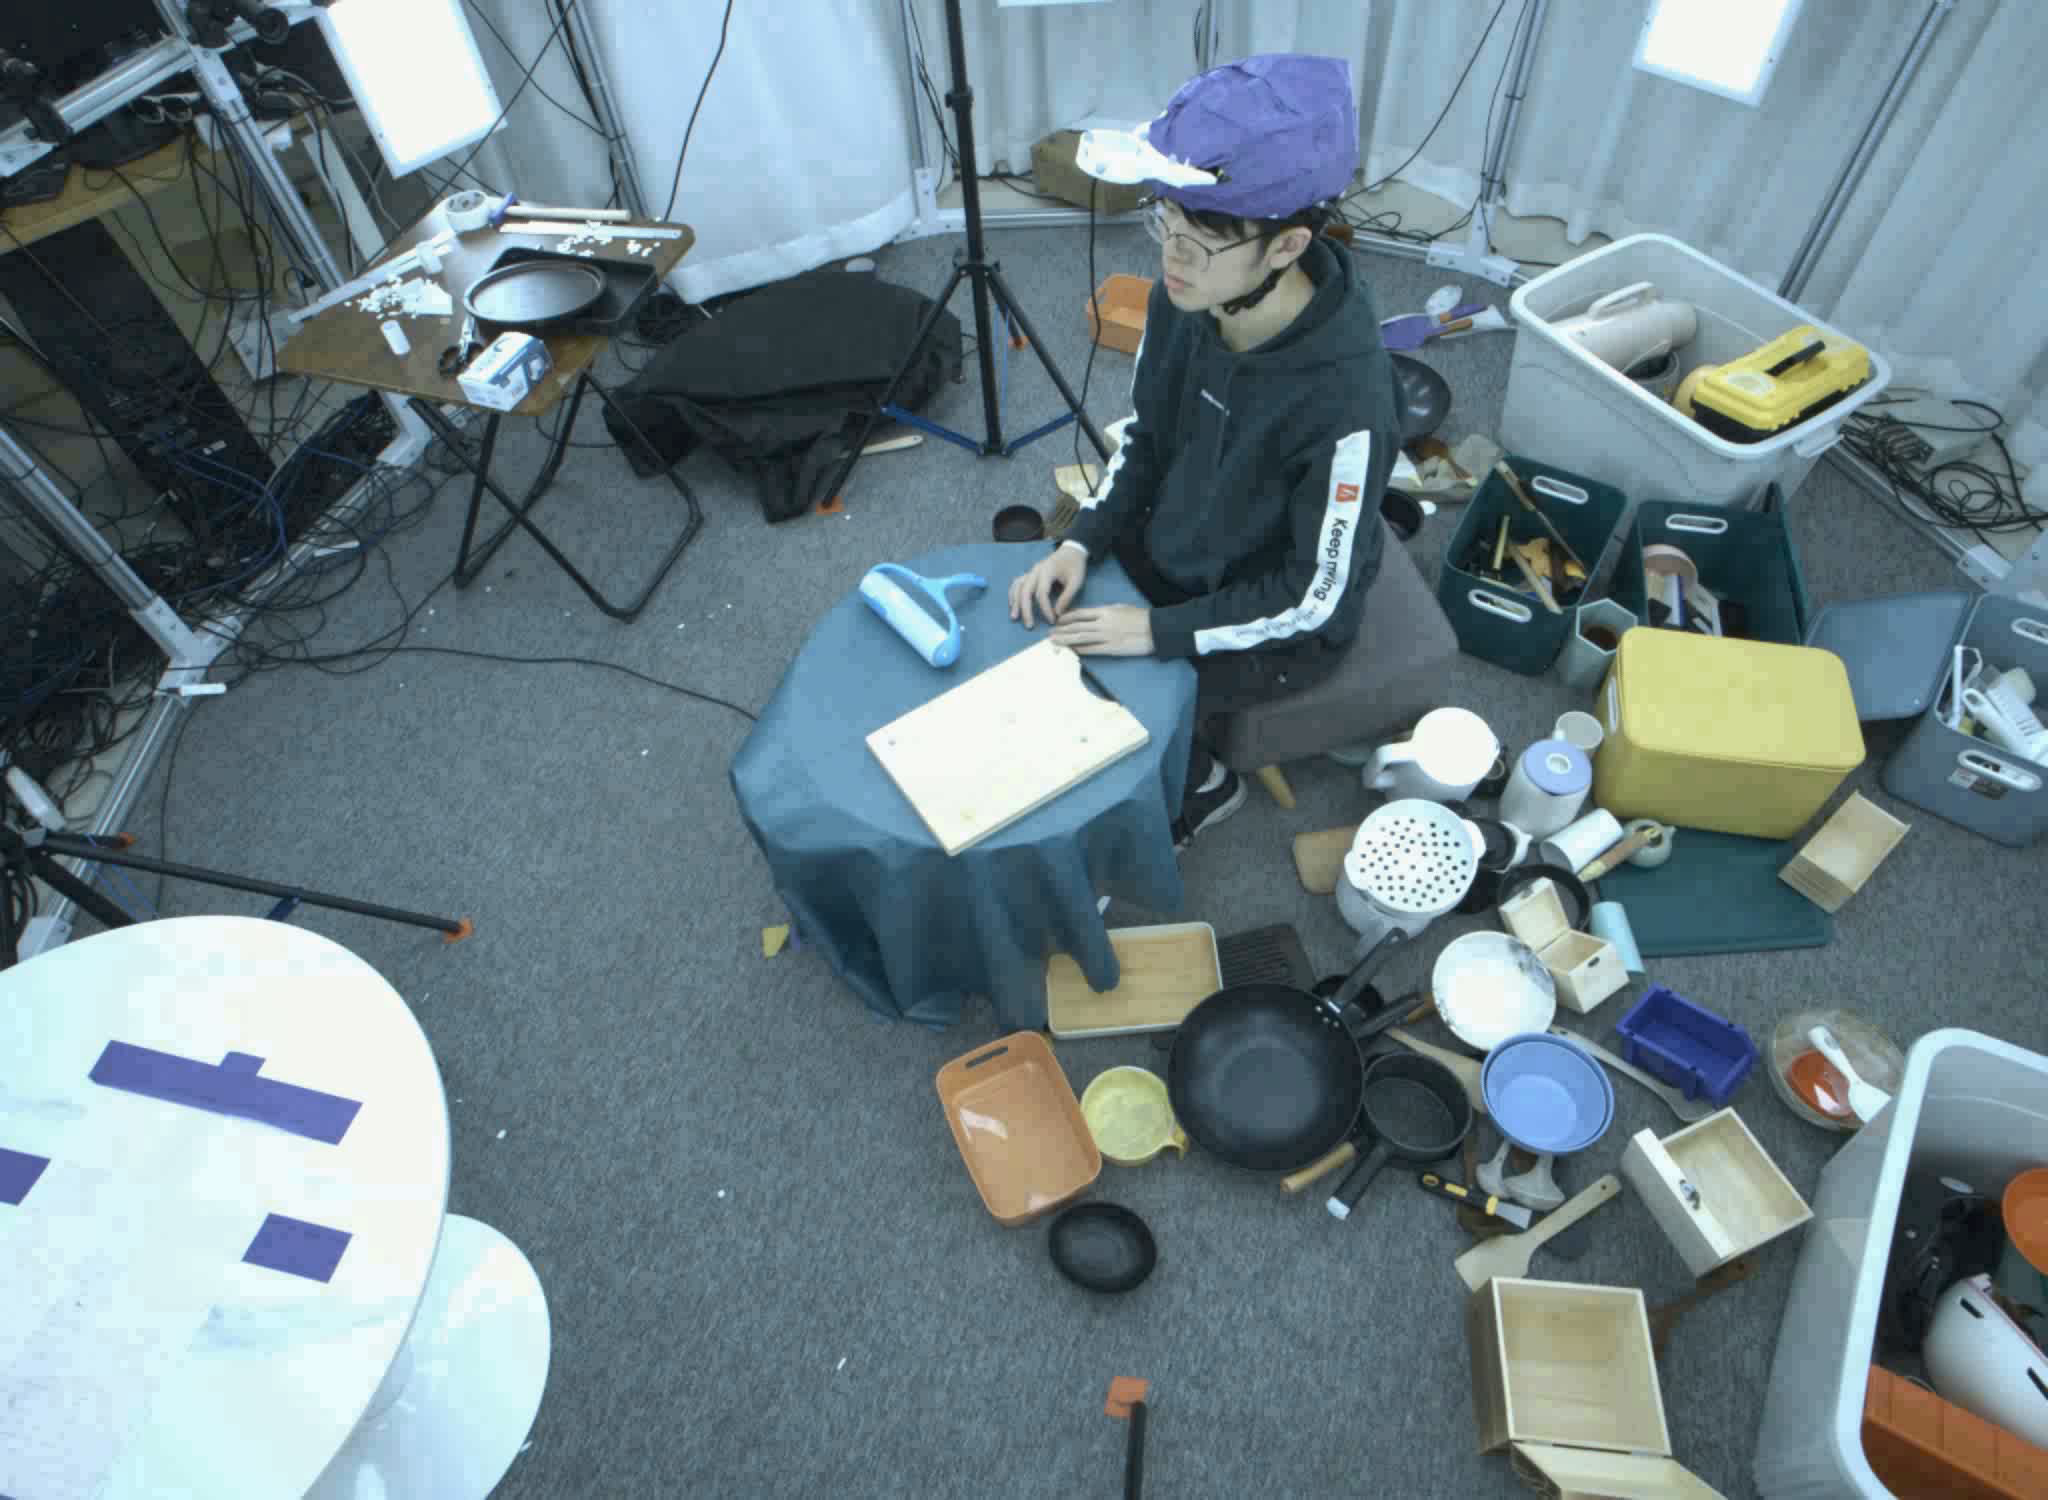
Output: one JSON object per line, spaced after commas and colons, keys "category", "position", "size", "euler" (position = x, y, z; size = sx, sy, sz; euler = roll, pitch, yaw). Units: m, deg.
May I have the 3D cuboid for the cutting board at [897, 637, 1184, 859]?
{"category": "cutting board", "position": [0.019, -0.012, 1.781], "size": [0.351, 0.024, 0.246], "euler": [-29, 59, -17]}

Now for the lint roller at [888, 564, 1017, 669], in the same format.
{"category": "lint roller", "position": [-0.090, -0.236, 1.918], "size": [0.181, 0.069, 0.224], "euler": [-36, 60, -21]}
